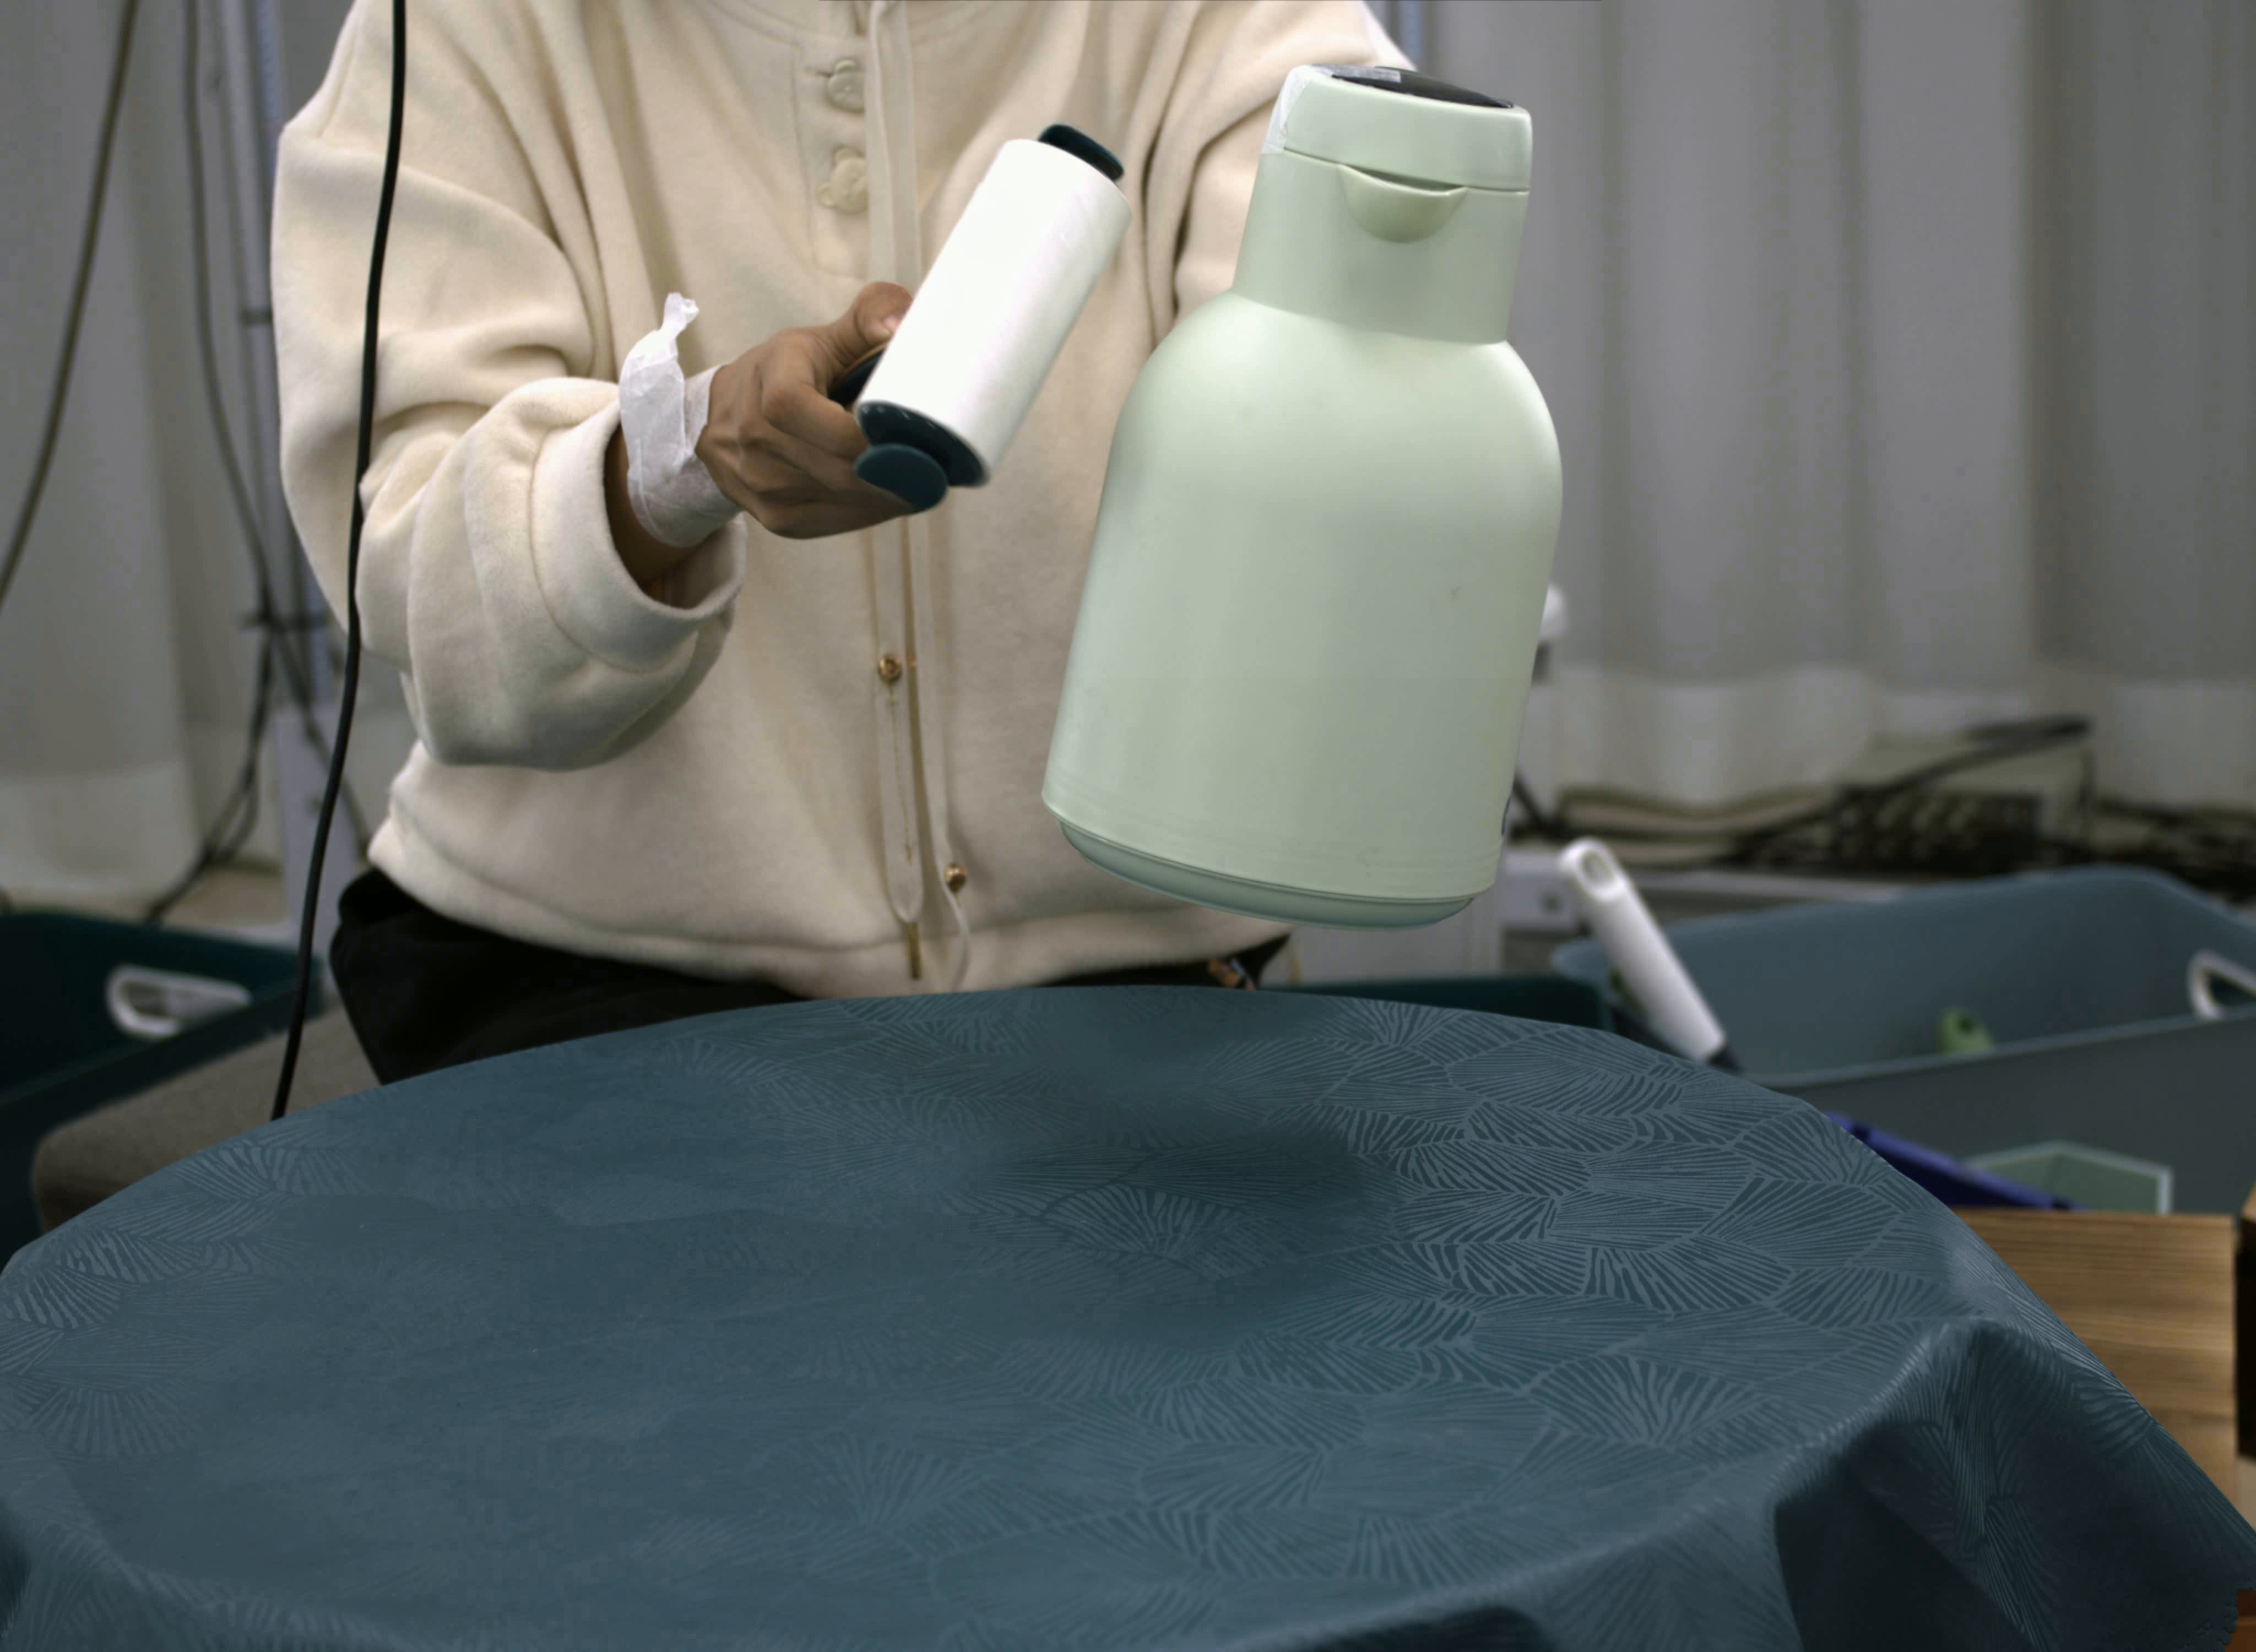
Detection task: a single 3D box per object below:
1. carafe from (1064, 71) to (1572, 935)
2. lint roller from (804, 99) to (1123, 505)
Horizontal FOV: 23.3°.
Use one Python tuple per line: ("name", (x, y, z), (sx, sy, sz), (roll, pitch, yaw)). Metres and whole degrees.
("carafe", (0.067, -0.105, 1.706), (0.144, 0.257, 0.187), (8, 7, -1))
("lint roller", (-0.076, -0.154, 1.748), (0.048, 0.135, 0.180), (37, -21, -21))
